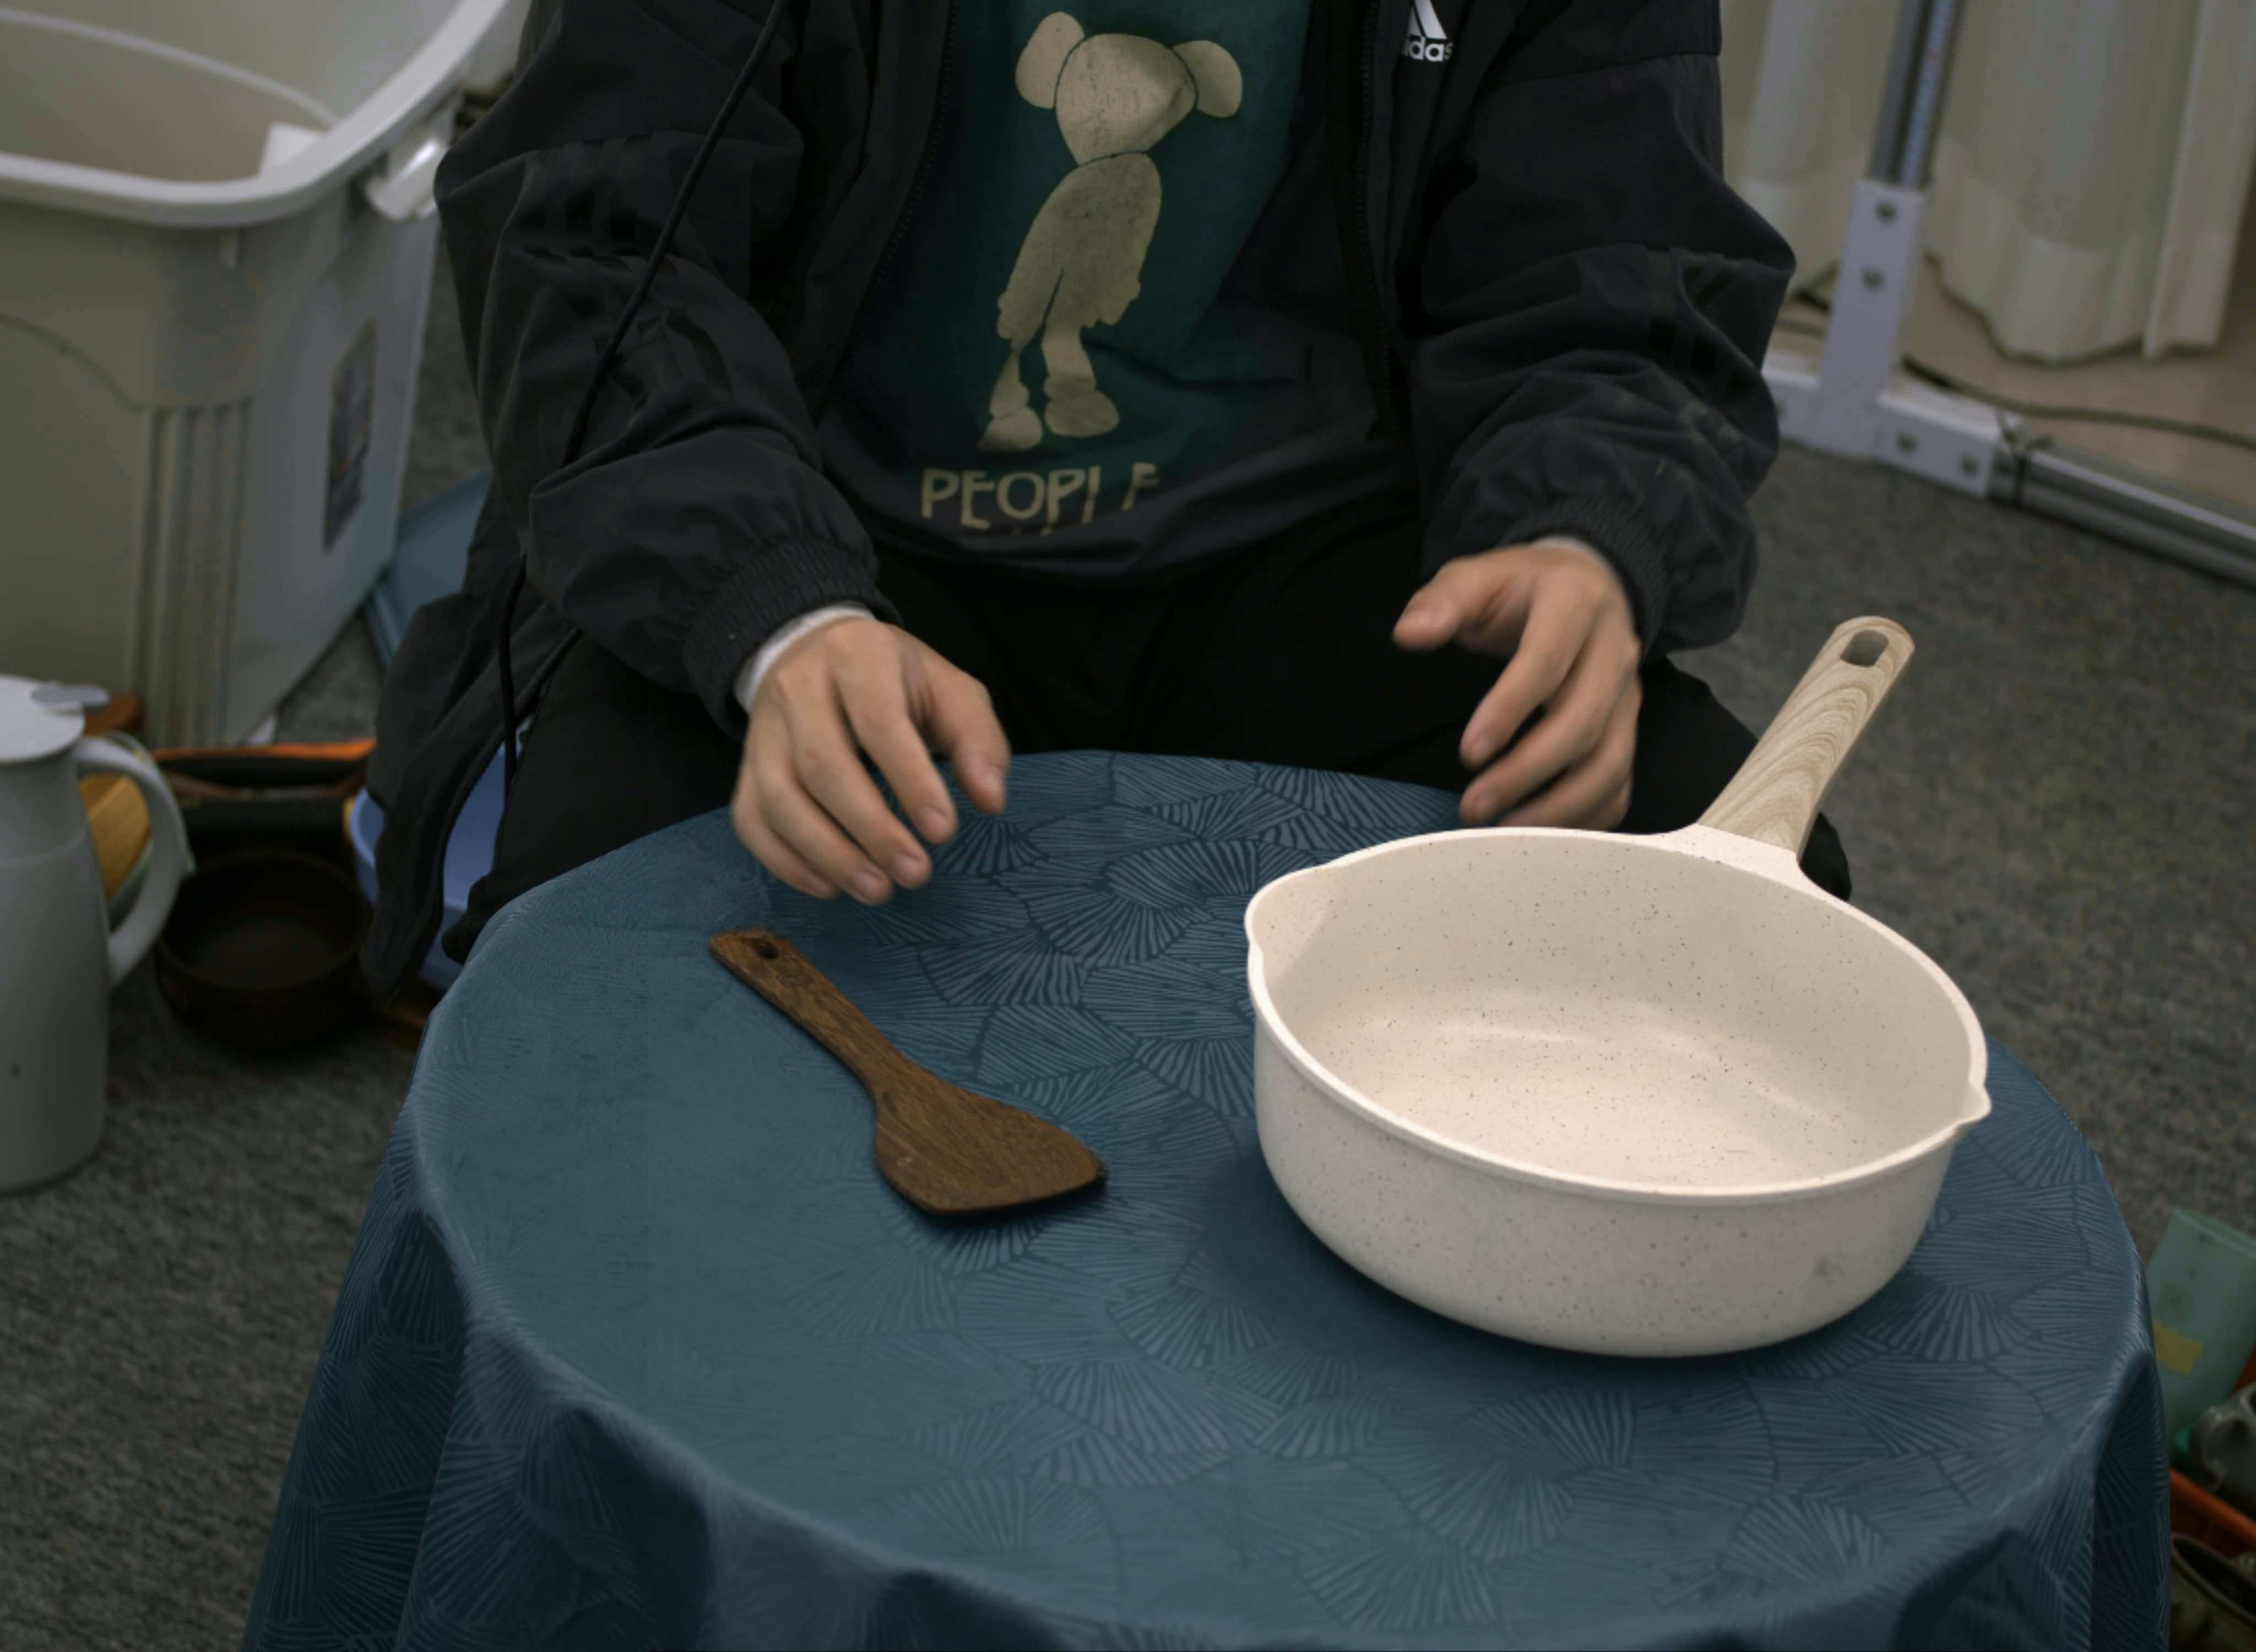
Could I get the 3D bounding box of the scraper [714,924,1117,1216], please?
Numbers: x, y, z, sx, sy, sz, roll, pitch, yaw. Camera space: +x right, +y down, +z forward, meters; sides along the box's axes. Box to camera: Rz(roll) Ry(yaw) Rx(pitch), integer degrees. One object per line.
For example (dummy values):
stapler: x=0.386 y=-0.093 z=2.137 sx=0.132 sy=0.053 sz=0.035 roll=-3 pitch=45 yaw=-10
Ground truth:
scraper: x=-0.086 y=0.083 z=1.857 sx=0.075 sy=0.011 sz=0.213 roll=-11 pitch=31 yaw=-30

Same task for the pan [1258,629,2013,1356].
pan: x=0.202 y=0.053 z=1.881 sx=0.264 sy=0.101 sz=0.435 roll=14 pitch=28 yaw=19
